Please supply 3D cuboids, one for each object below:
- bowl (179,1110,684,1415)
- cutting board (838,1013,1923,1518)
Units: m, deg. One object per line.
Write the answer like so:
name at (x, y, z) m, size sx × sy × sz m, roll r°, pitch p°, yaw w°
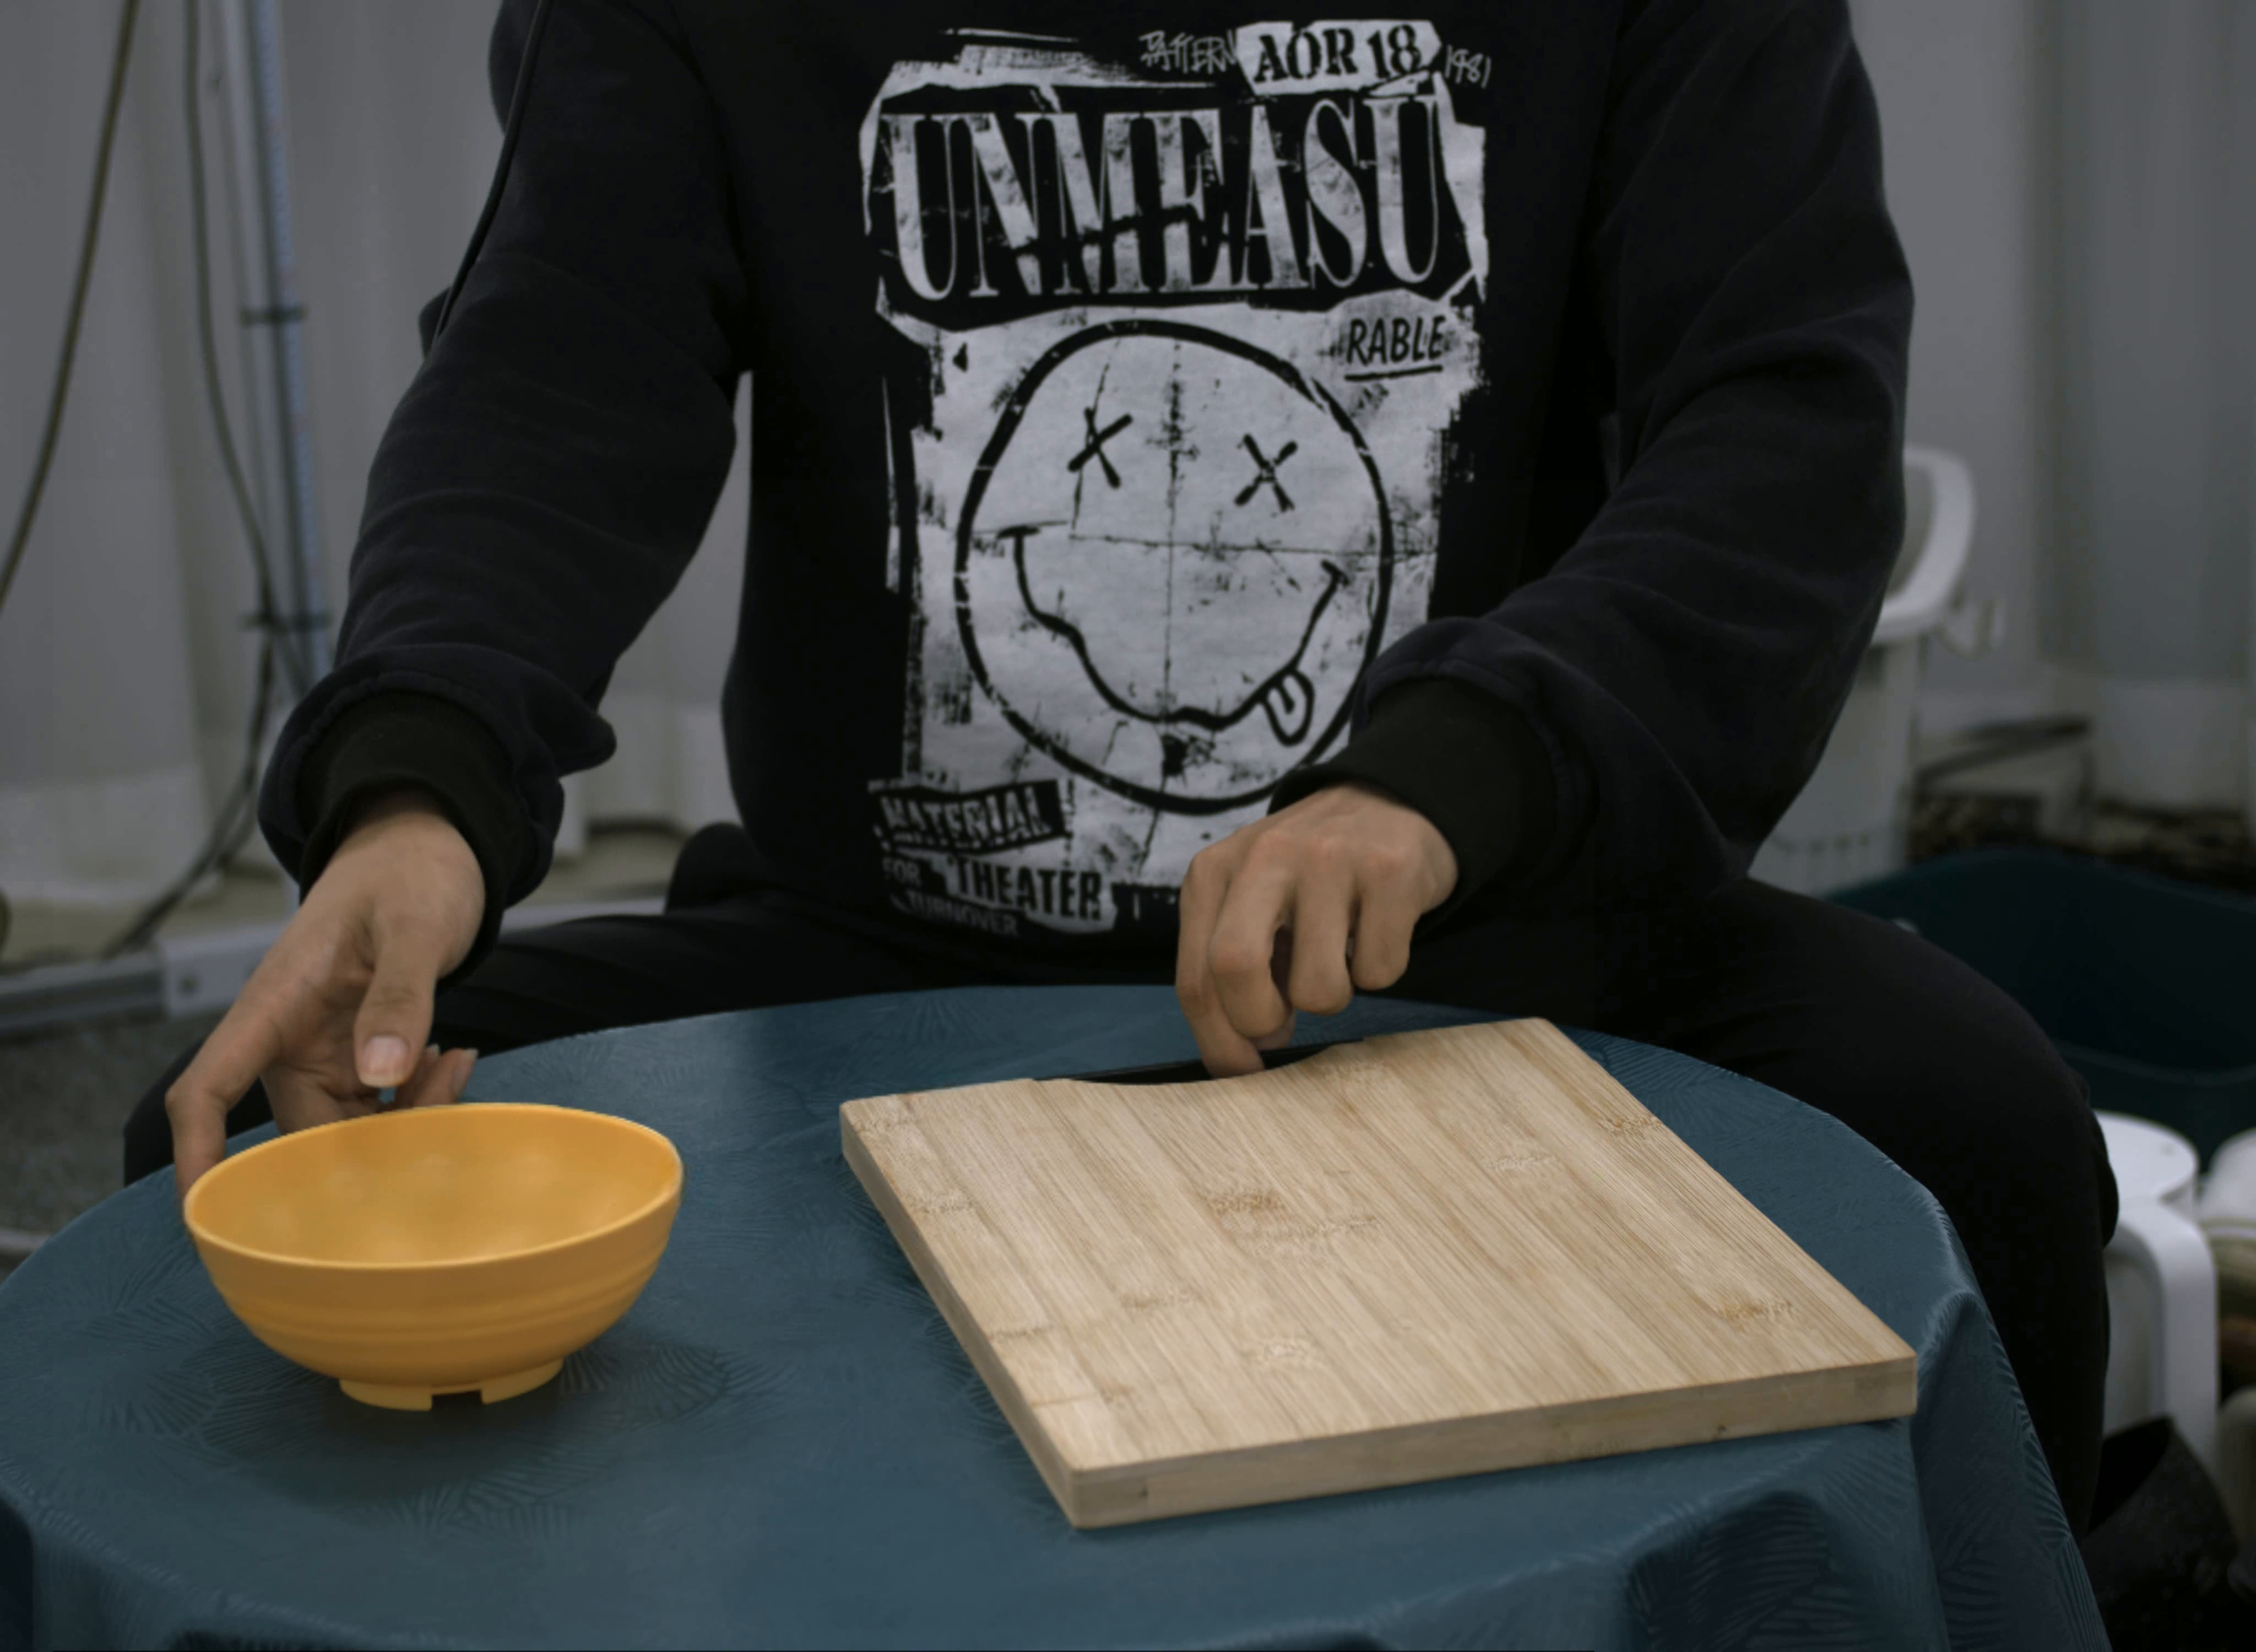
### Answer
bowl at (-0.200, 0.131, 1.581) m, size 0.145 × 0.060 × 0.146 m, roll 0°, pitch 14°, yaw 0°
cutting board at (0.062, 0.125, 1.634) m, size 0.249 × 0.023 × 0.351 m, roll -6°, pitch 15°, yaw -13°
